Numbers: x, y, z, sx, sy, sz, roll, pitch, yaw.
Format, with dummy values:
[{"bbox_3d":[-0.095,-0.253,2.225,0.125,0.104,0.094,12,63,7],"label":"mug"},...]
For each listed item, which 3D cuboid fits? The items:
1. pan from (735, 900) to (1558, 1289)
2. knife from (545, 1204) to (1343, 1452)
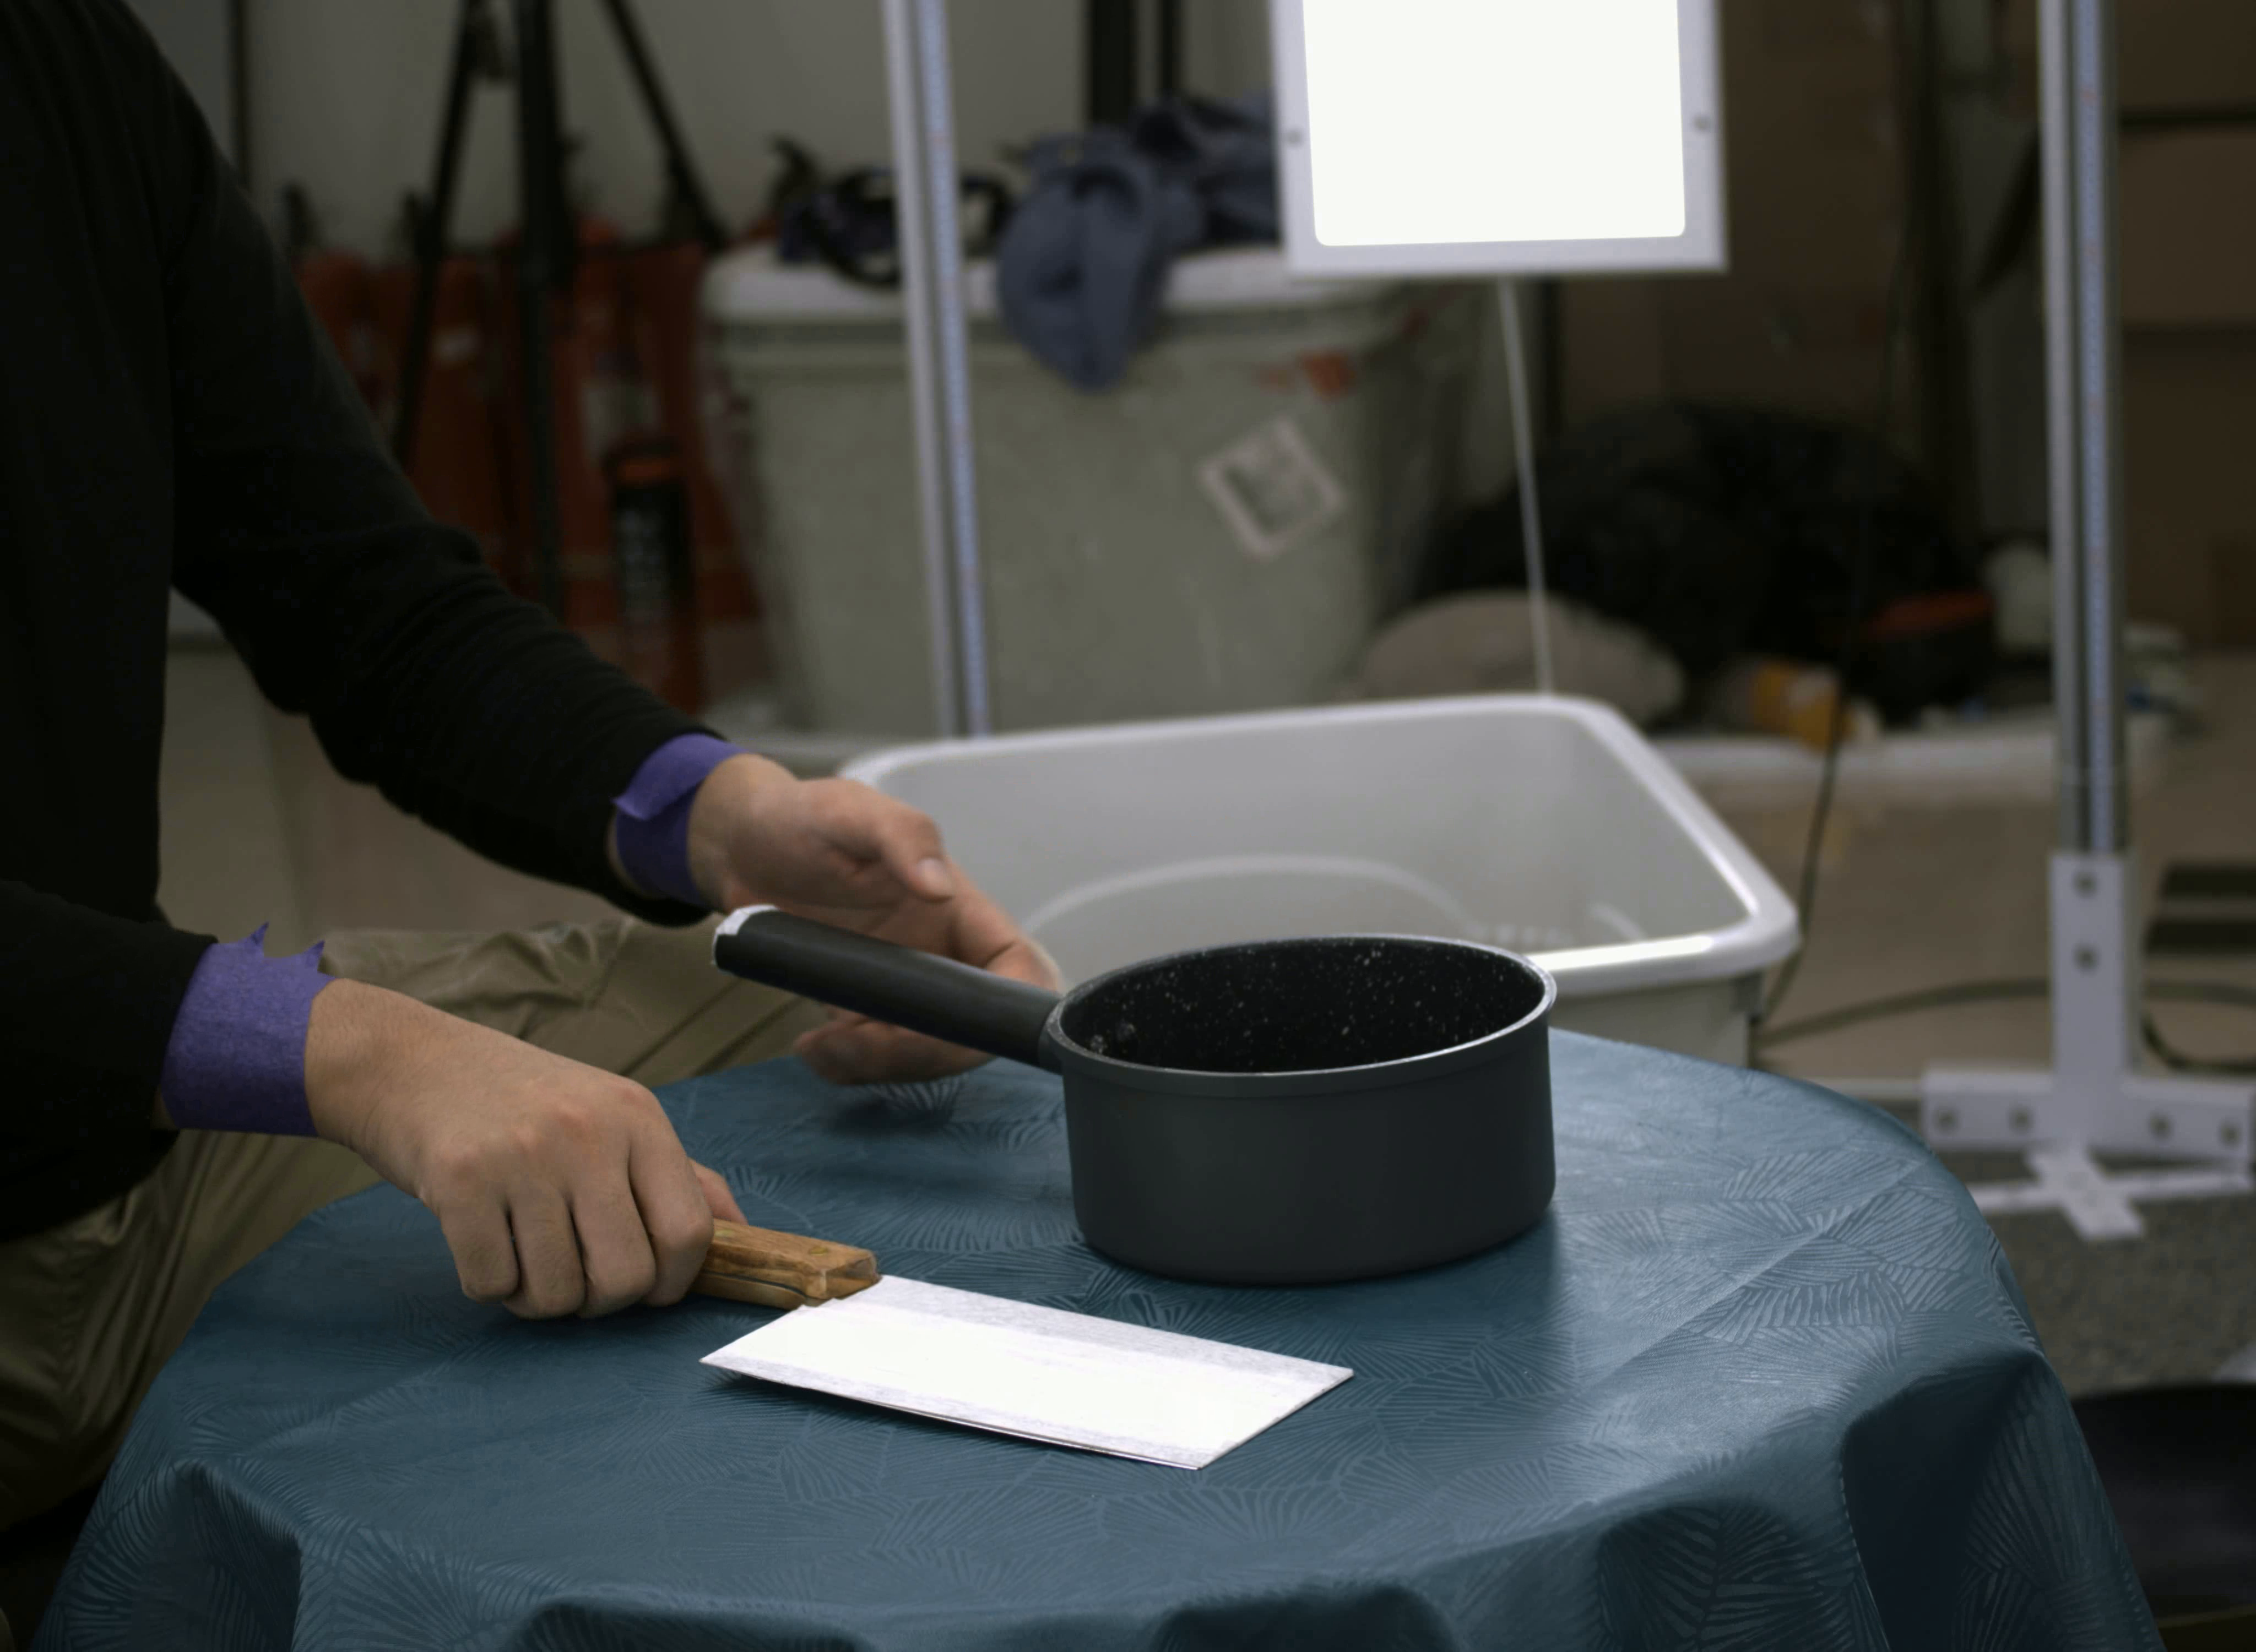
[{"bbox_3d":[-0.003,0.085,1.896,0.335,0.087,0.168,7,18,38],"label":"pan"},{"bbox_3d":[-0.078,0.162,1.753,0.312,0.021,0.090,8,20,35],"label":"knife"}]
